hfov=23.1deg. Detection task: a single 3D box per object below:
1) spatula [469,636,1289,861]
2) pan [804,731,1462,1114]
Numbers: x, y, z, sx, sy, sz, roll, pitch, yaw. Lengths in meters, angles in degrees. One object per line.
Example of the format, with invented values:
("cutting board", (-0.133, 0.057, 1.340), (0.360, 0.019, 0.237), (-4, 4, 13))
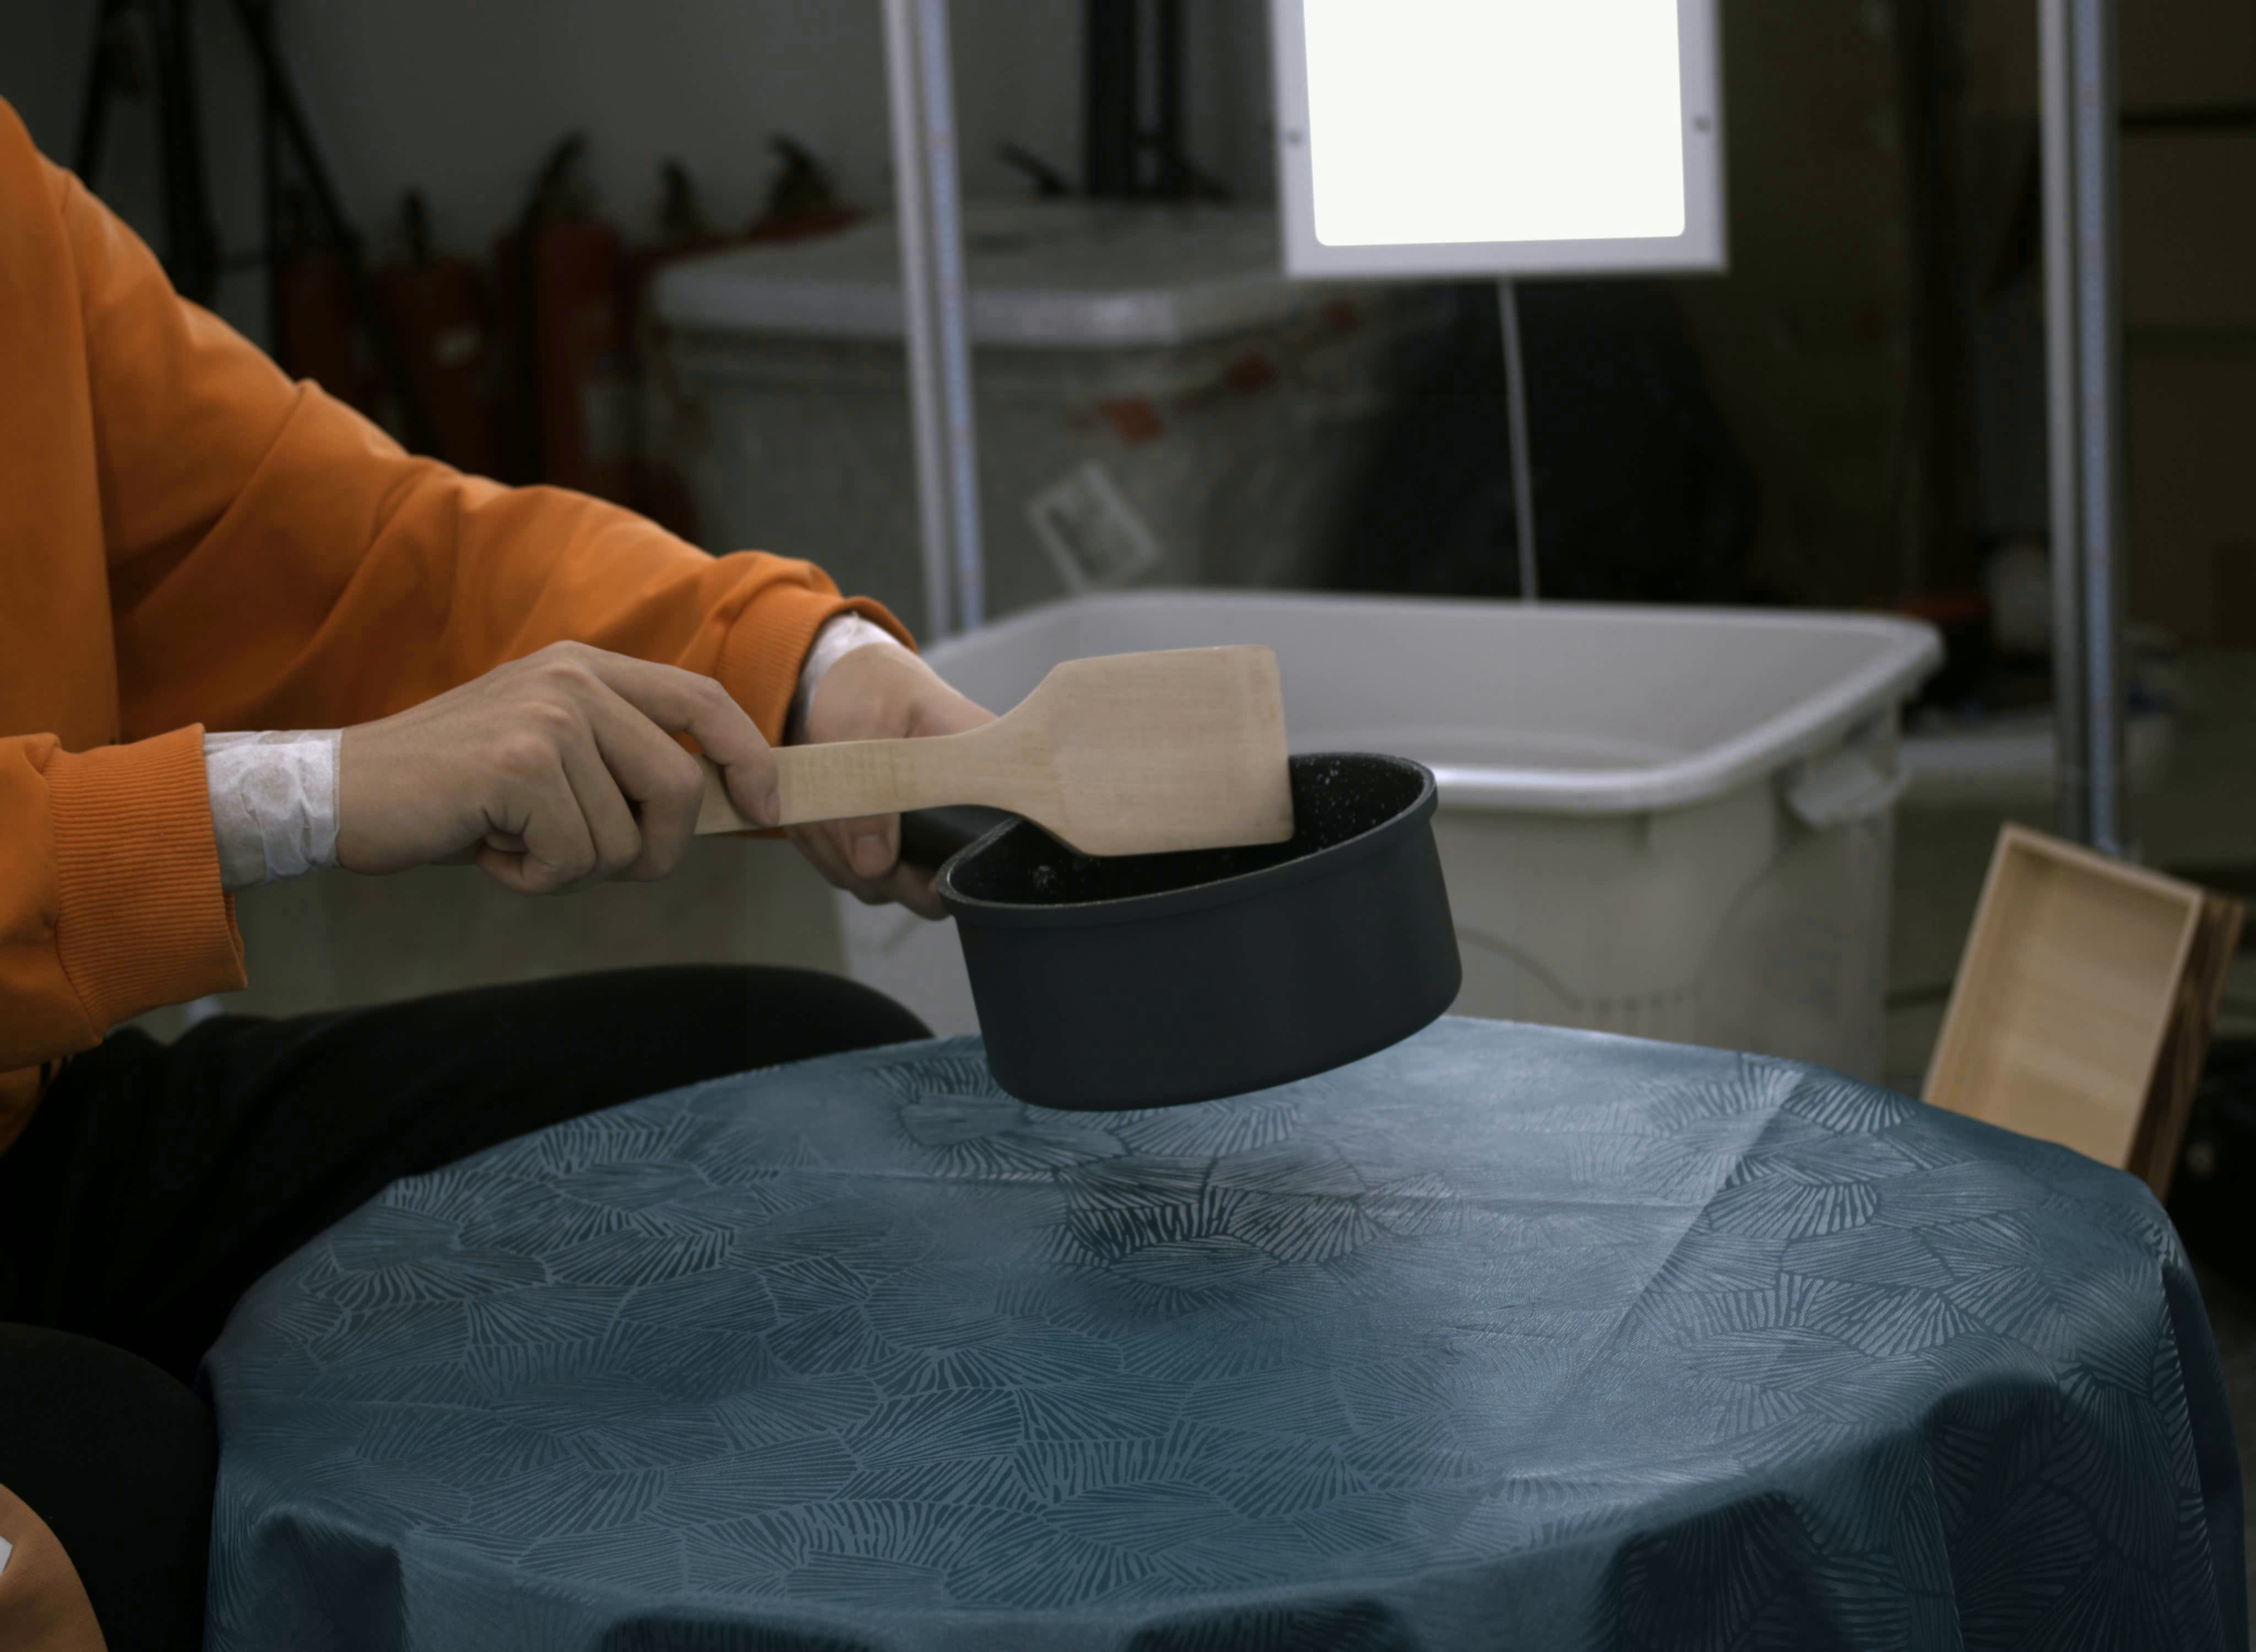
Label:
("spatula", (-0.080, -0.018, 1.847), (0.288, 0.072, 0.011), (-6, 2, -20))
("pan", (-0.017, 0.025, 1.911), (0.168, 0.086, 0.335), (-19, 15, -28))
